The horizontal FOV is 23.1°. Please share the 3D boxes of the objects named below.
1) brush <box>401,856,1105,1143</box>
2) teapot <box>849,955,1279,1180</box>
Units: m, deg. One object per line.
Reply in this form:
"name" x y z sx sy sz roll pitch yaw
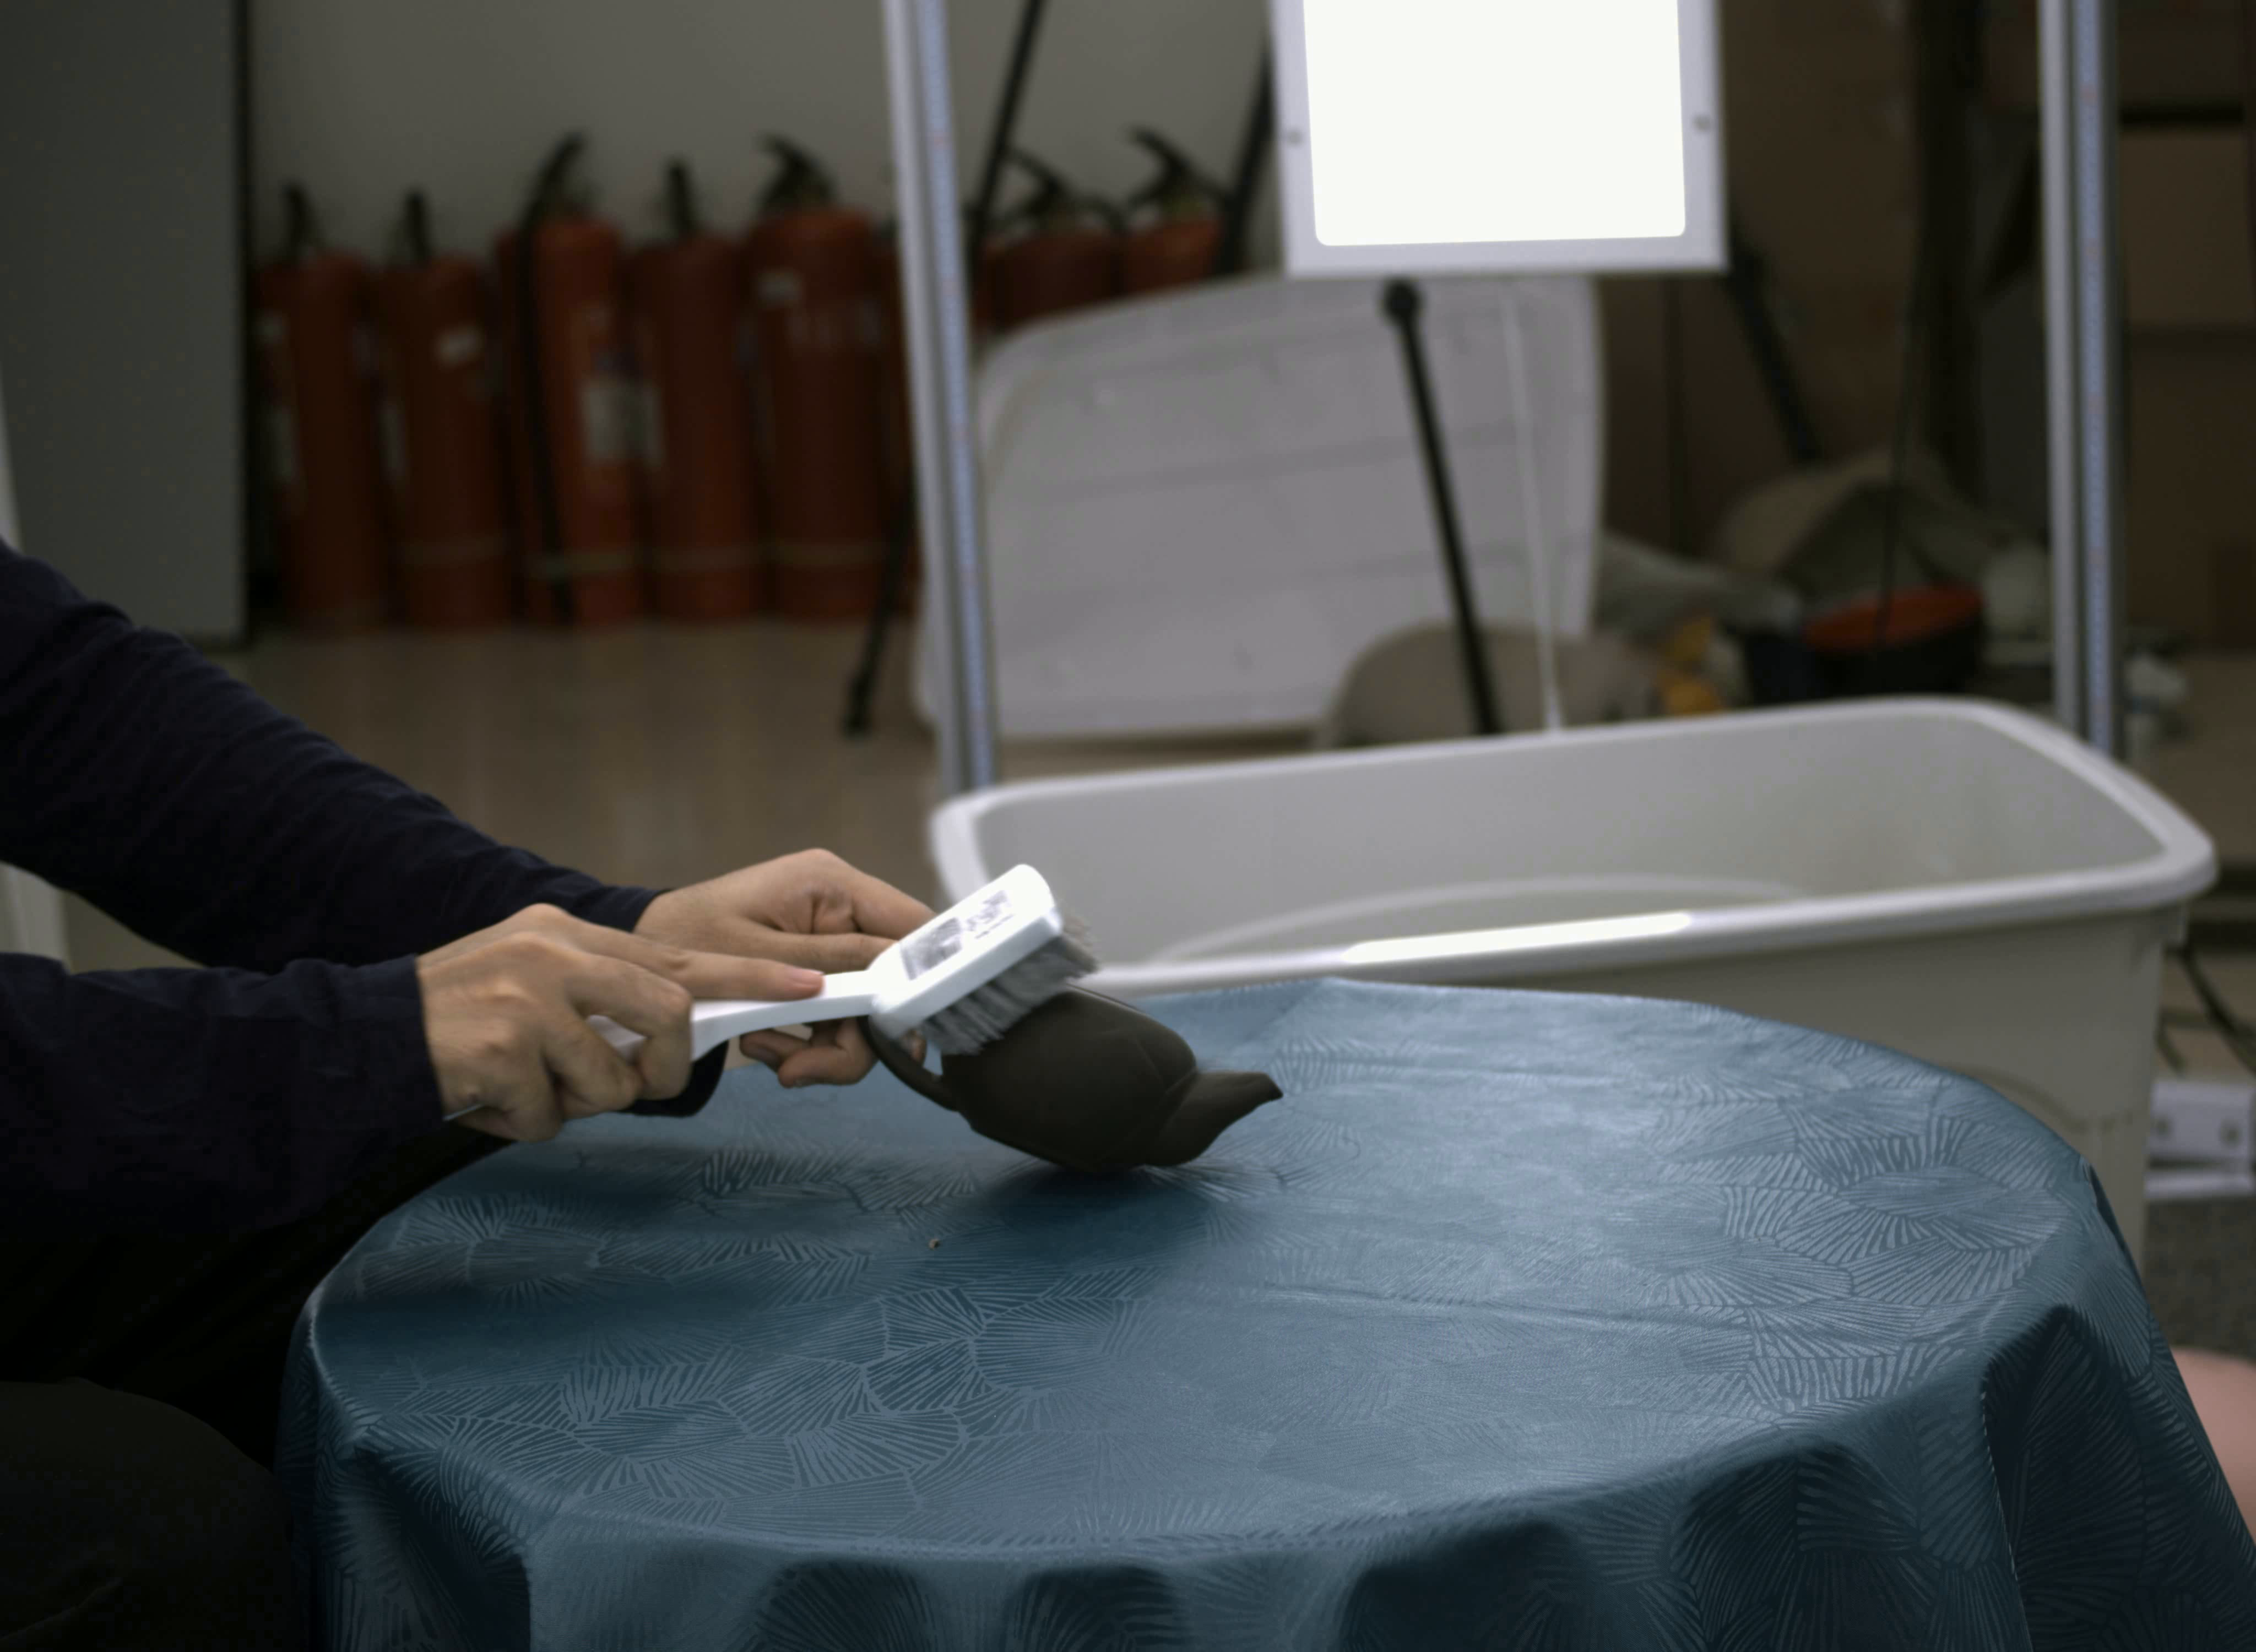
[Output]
"brush" -0.125 0.072 1.861 0.242 0.050 0.034 -20 41 -4
"teapot" -0.025 0.085 1.915 0.155 0.064 0.092 18 -5 10
